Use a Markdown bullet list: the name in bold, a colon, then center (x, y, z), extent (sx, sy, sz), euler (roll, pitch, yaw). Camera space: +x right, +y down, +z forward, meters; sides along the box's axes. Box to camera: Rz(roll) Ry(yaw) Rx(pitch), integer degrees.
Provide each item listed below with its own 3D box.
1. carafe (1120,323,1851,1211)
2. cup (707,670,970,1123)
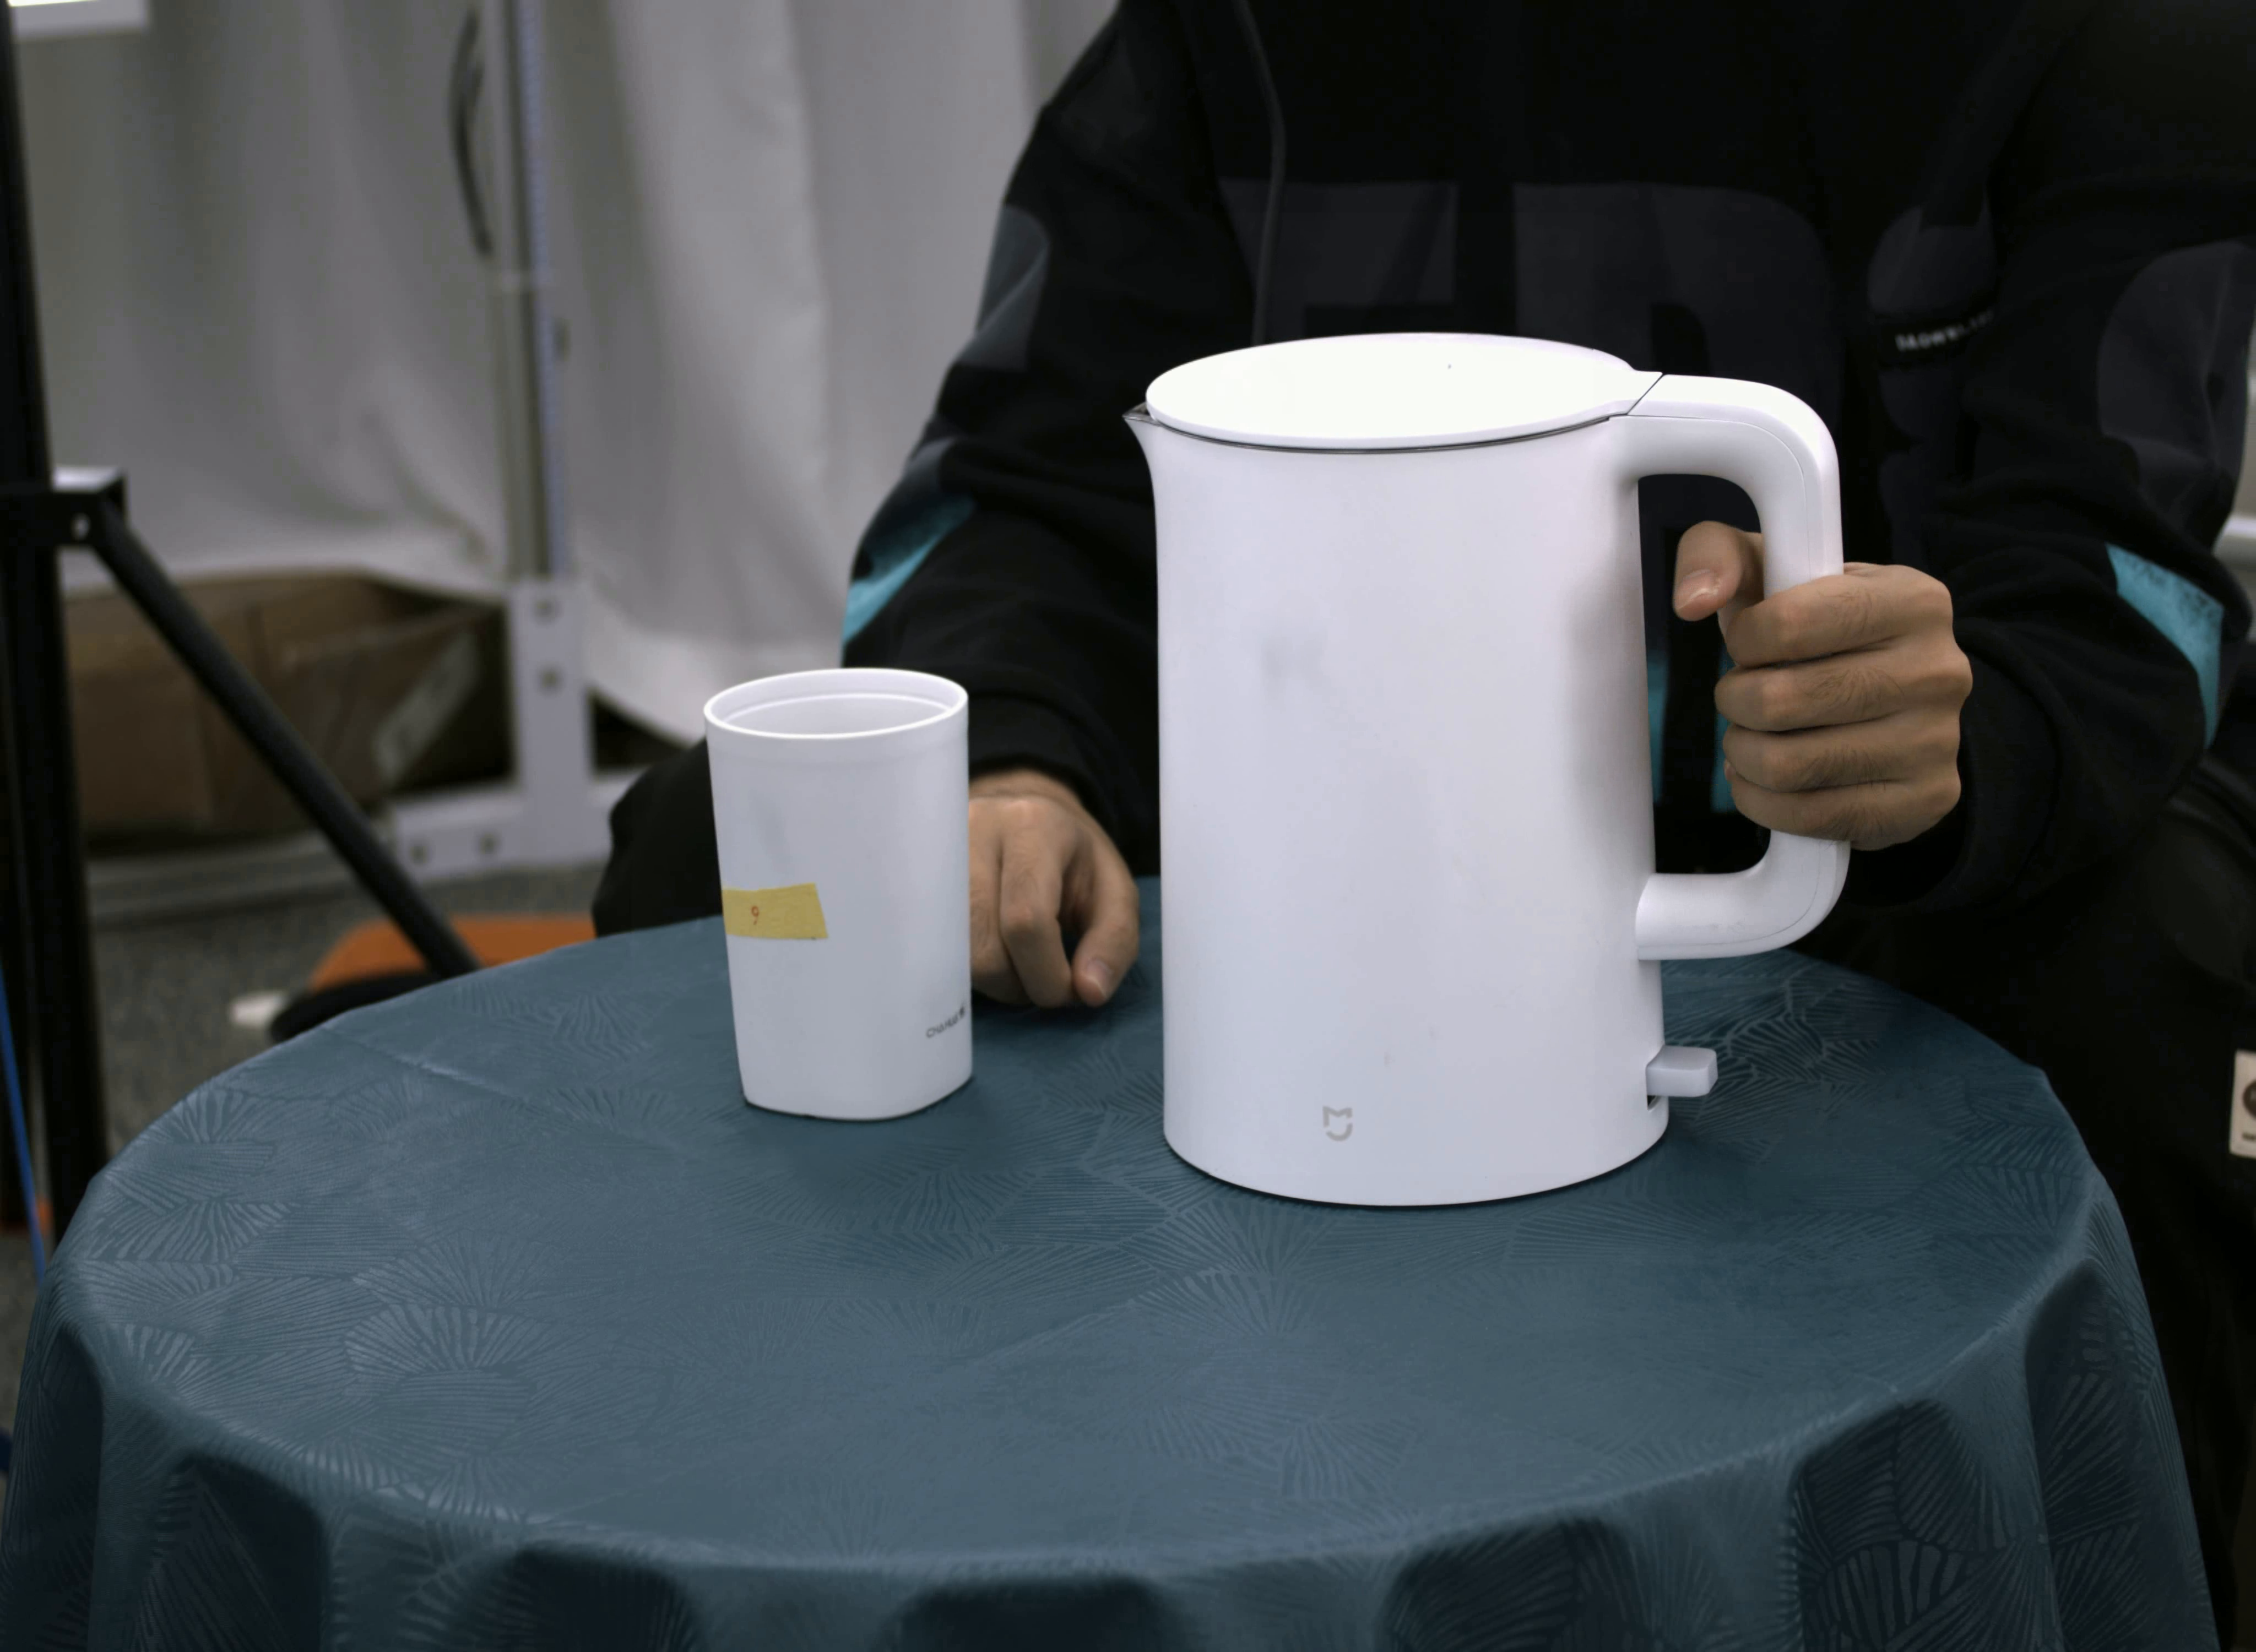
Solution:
- **carafe**: center (0.105, -0.018, 1.561), extent (0.215, 0.240, 0.150), euler (2, 17, 19)
- **cup**: center (-0.087, 0.022, 1.648), extent (0.081, 0.125, 0.082), euler (-2, 15, -1)
